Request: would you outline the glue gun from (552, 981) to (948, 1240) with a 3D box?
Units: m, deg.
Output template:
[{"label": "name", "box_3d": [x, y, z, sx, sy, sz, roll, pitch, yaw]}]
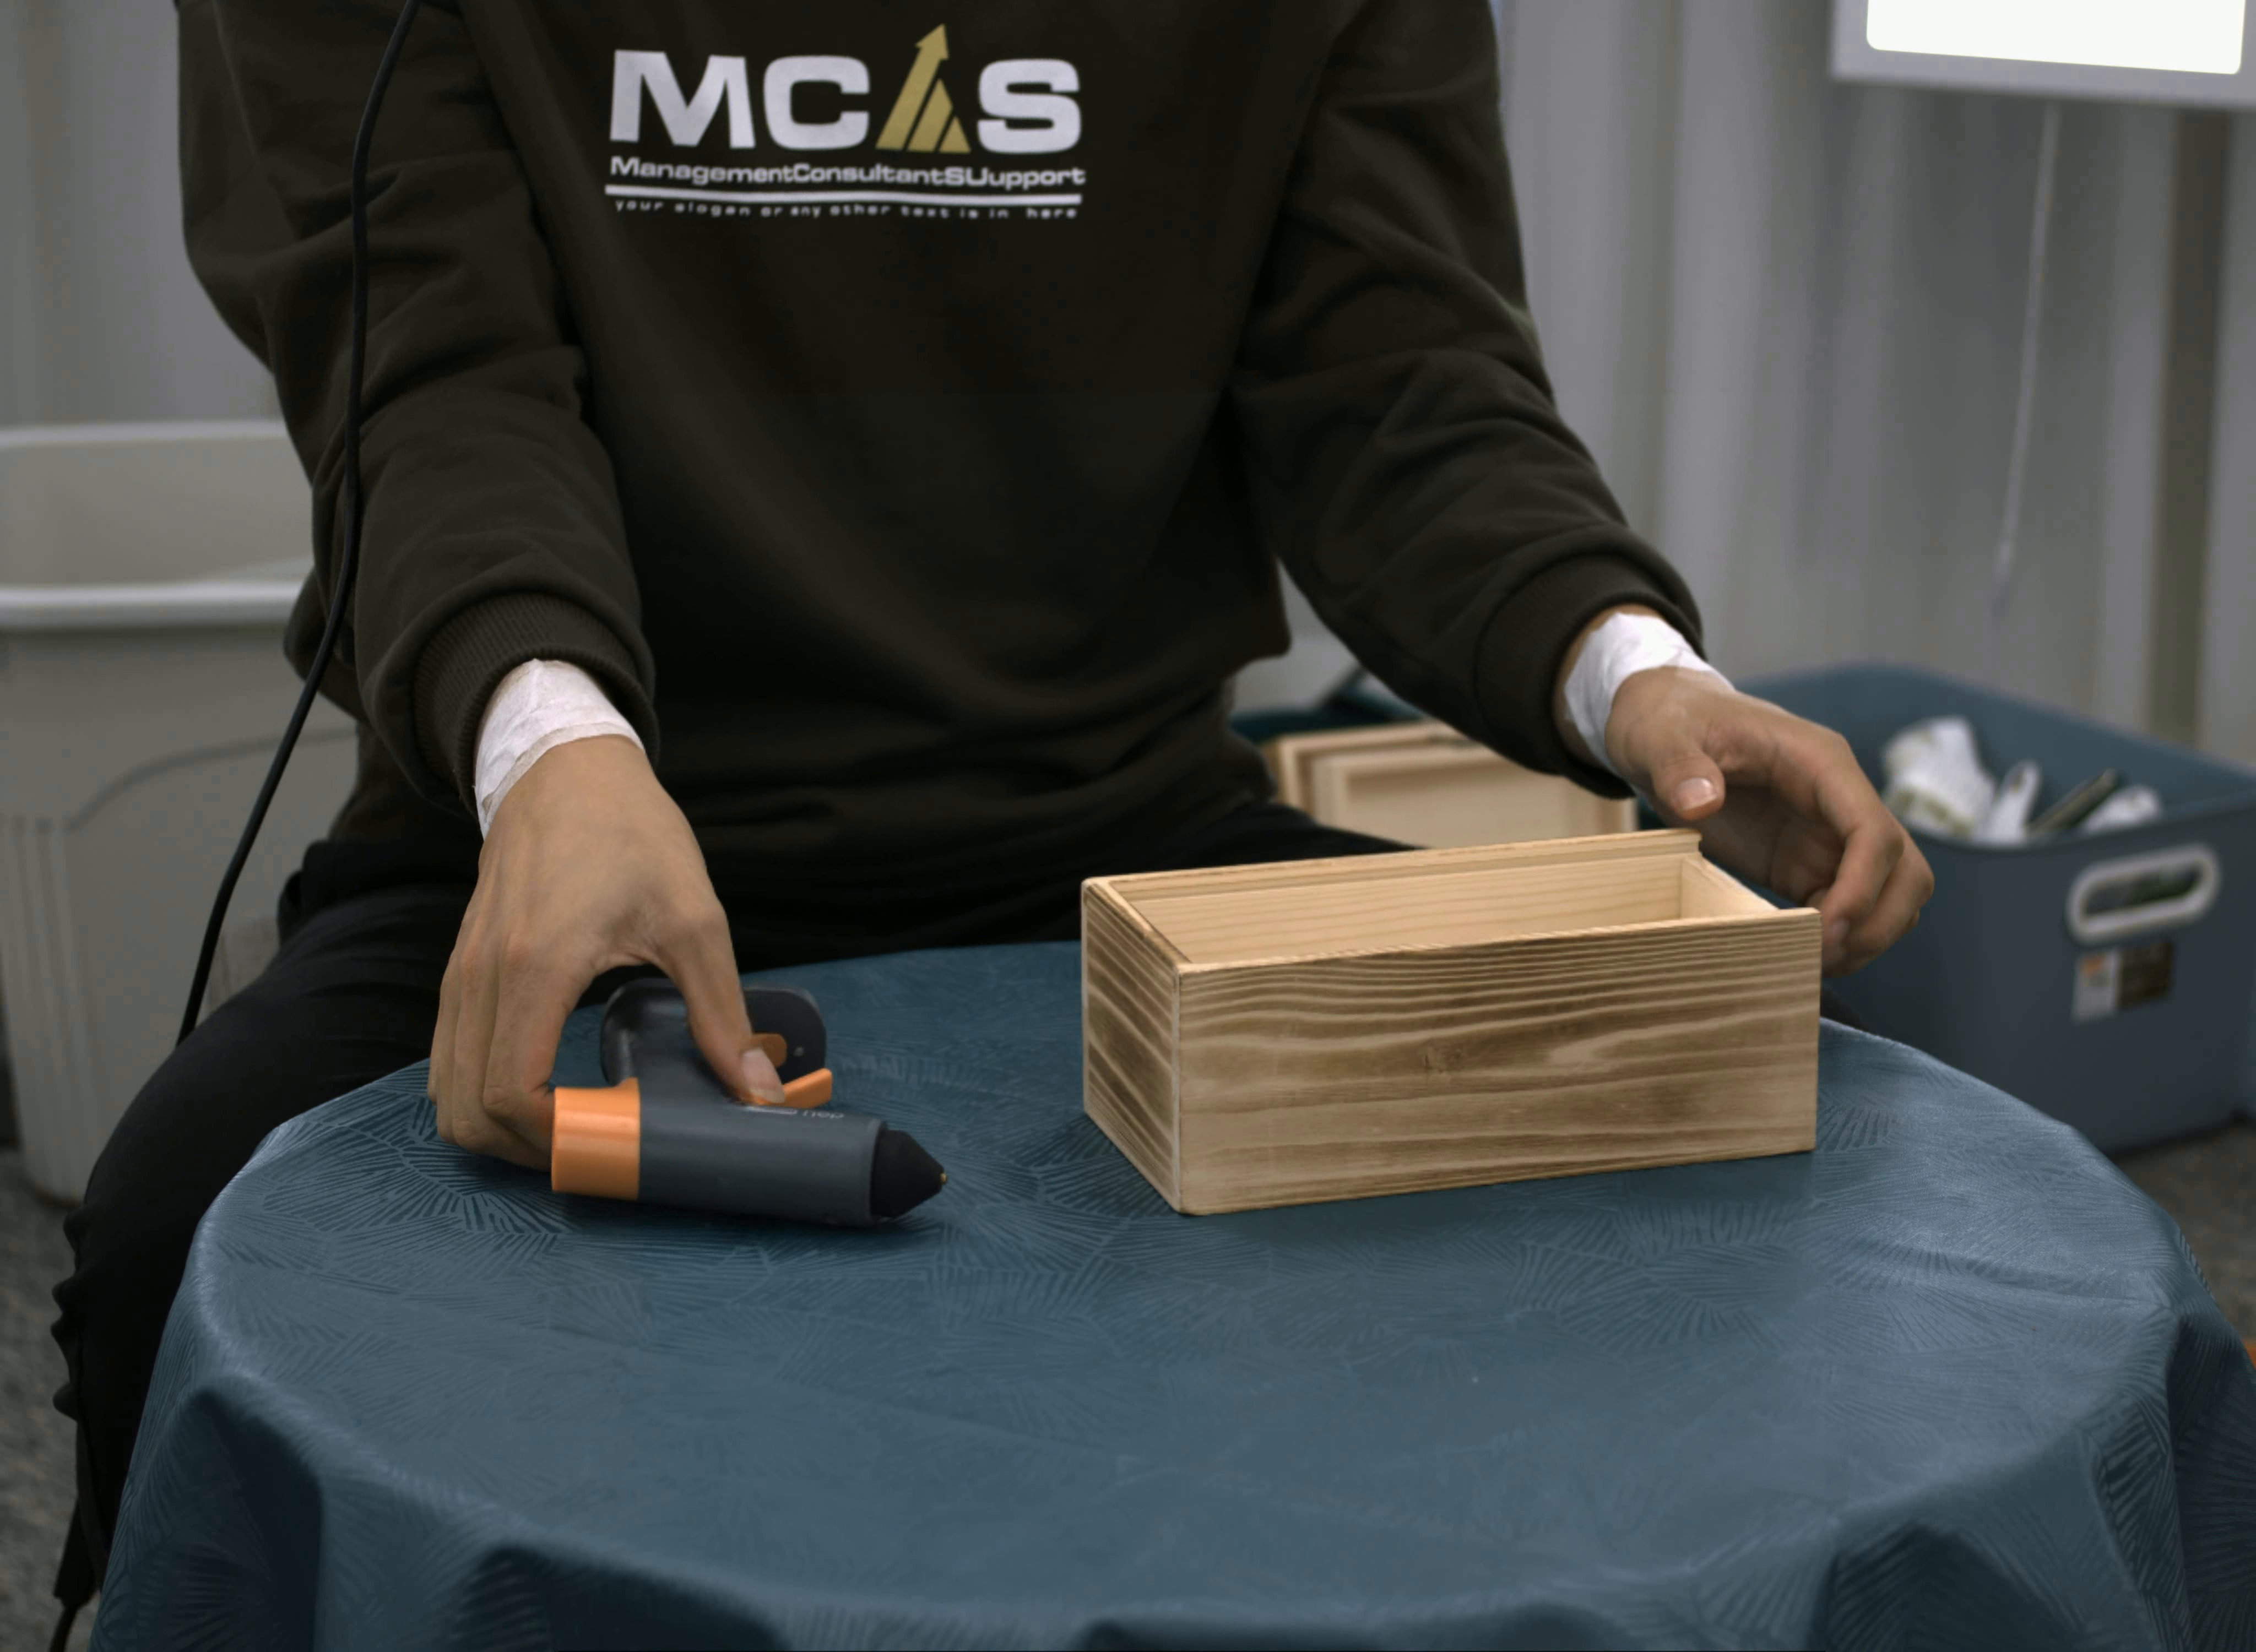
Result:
[{"label": "glue gun", "box_3d": [-0.121, 0.091, 1.639, 0.118, 0.041, 0.138, 5, 16, -11]}]

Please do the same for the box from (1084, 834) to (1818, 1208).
[{"label": "box", "box_3d": [0.101, 0.060, 1.674, 0.212, 0.081, 0.106, -4, 16, -17]}]
